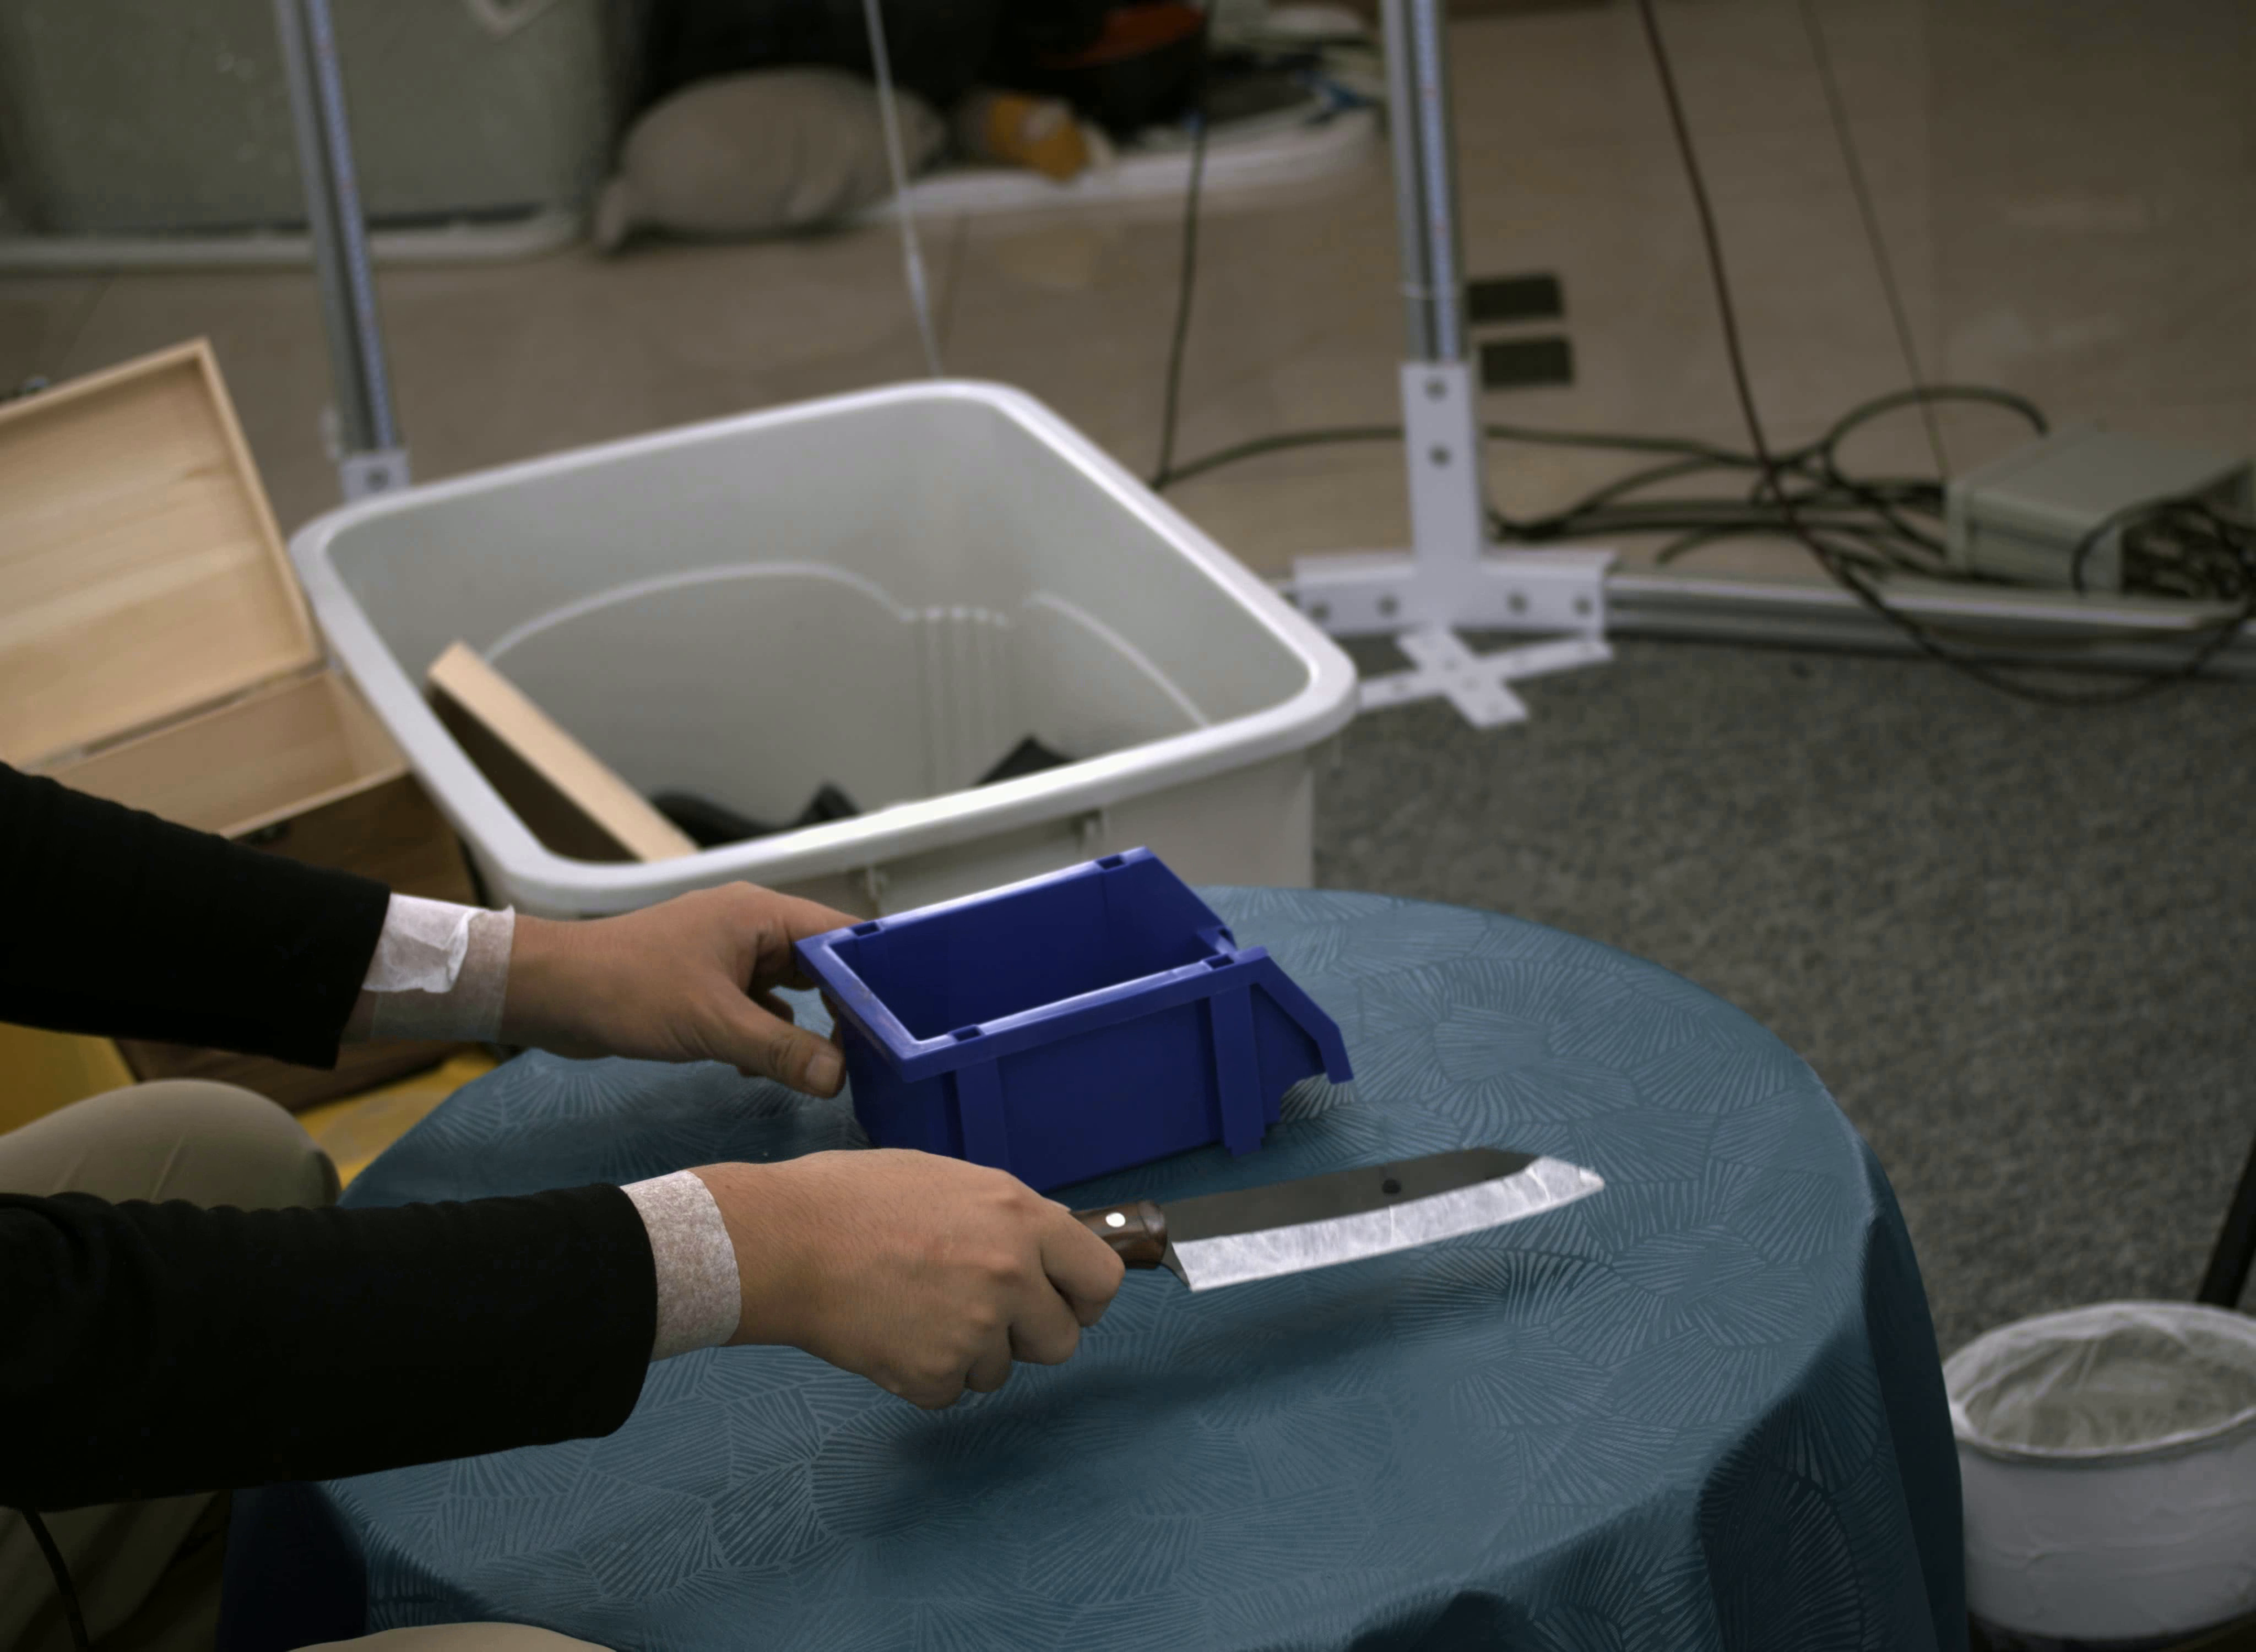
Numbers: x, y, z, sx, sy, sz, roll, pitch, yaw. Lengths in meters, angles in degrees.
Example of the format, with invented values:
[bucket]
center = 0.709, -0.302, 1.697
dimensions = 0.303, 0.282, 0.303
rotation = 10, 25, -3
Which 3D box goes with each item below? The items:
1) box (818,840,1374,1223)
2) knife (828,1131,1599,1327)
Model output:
[box]
center = -0.013, 0.075, 2.190
dimensions = 0.179, 0.083, 0.123
rotation = -17, 27, -16
[knife]
center = 0.034, 0.143, 2.018
dimensions = 0.288, 0.020, 0.049
rotation = -8, 43, -17
